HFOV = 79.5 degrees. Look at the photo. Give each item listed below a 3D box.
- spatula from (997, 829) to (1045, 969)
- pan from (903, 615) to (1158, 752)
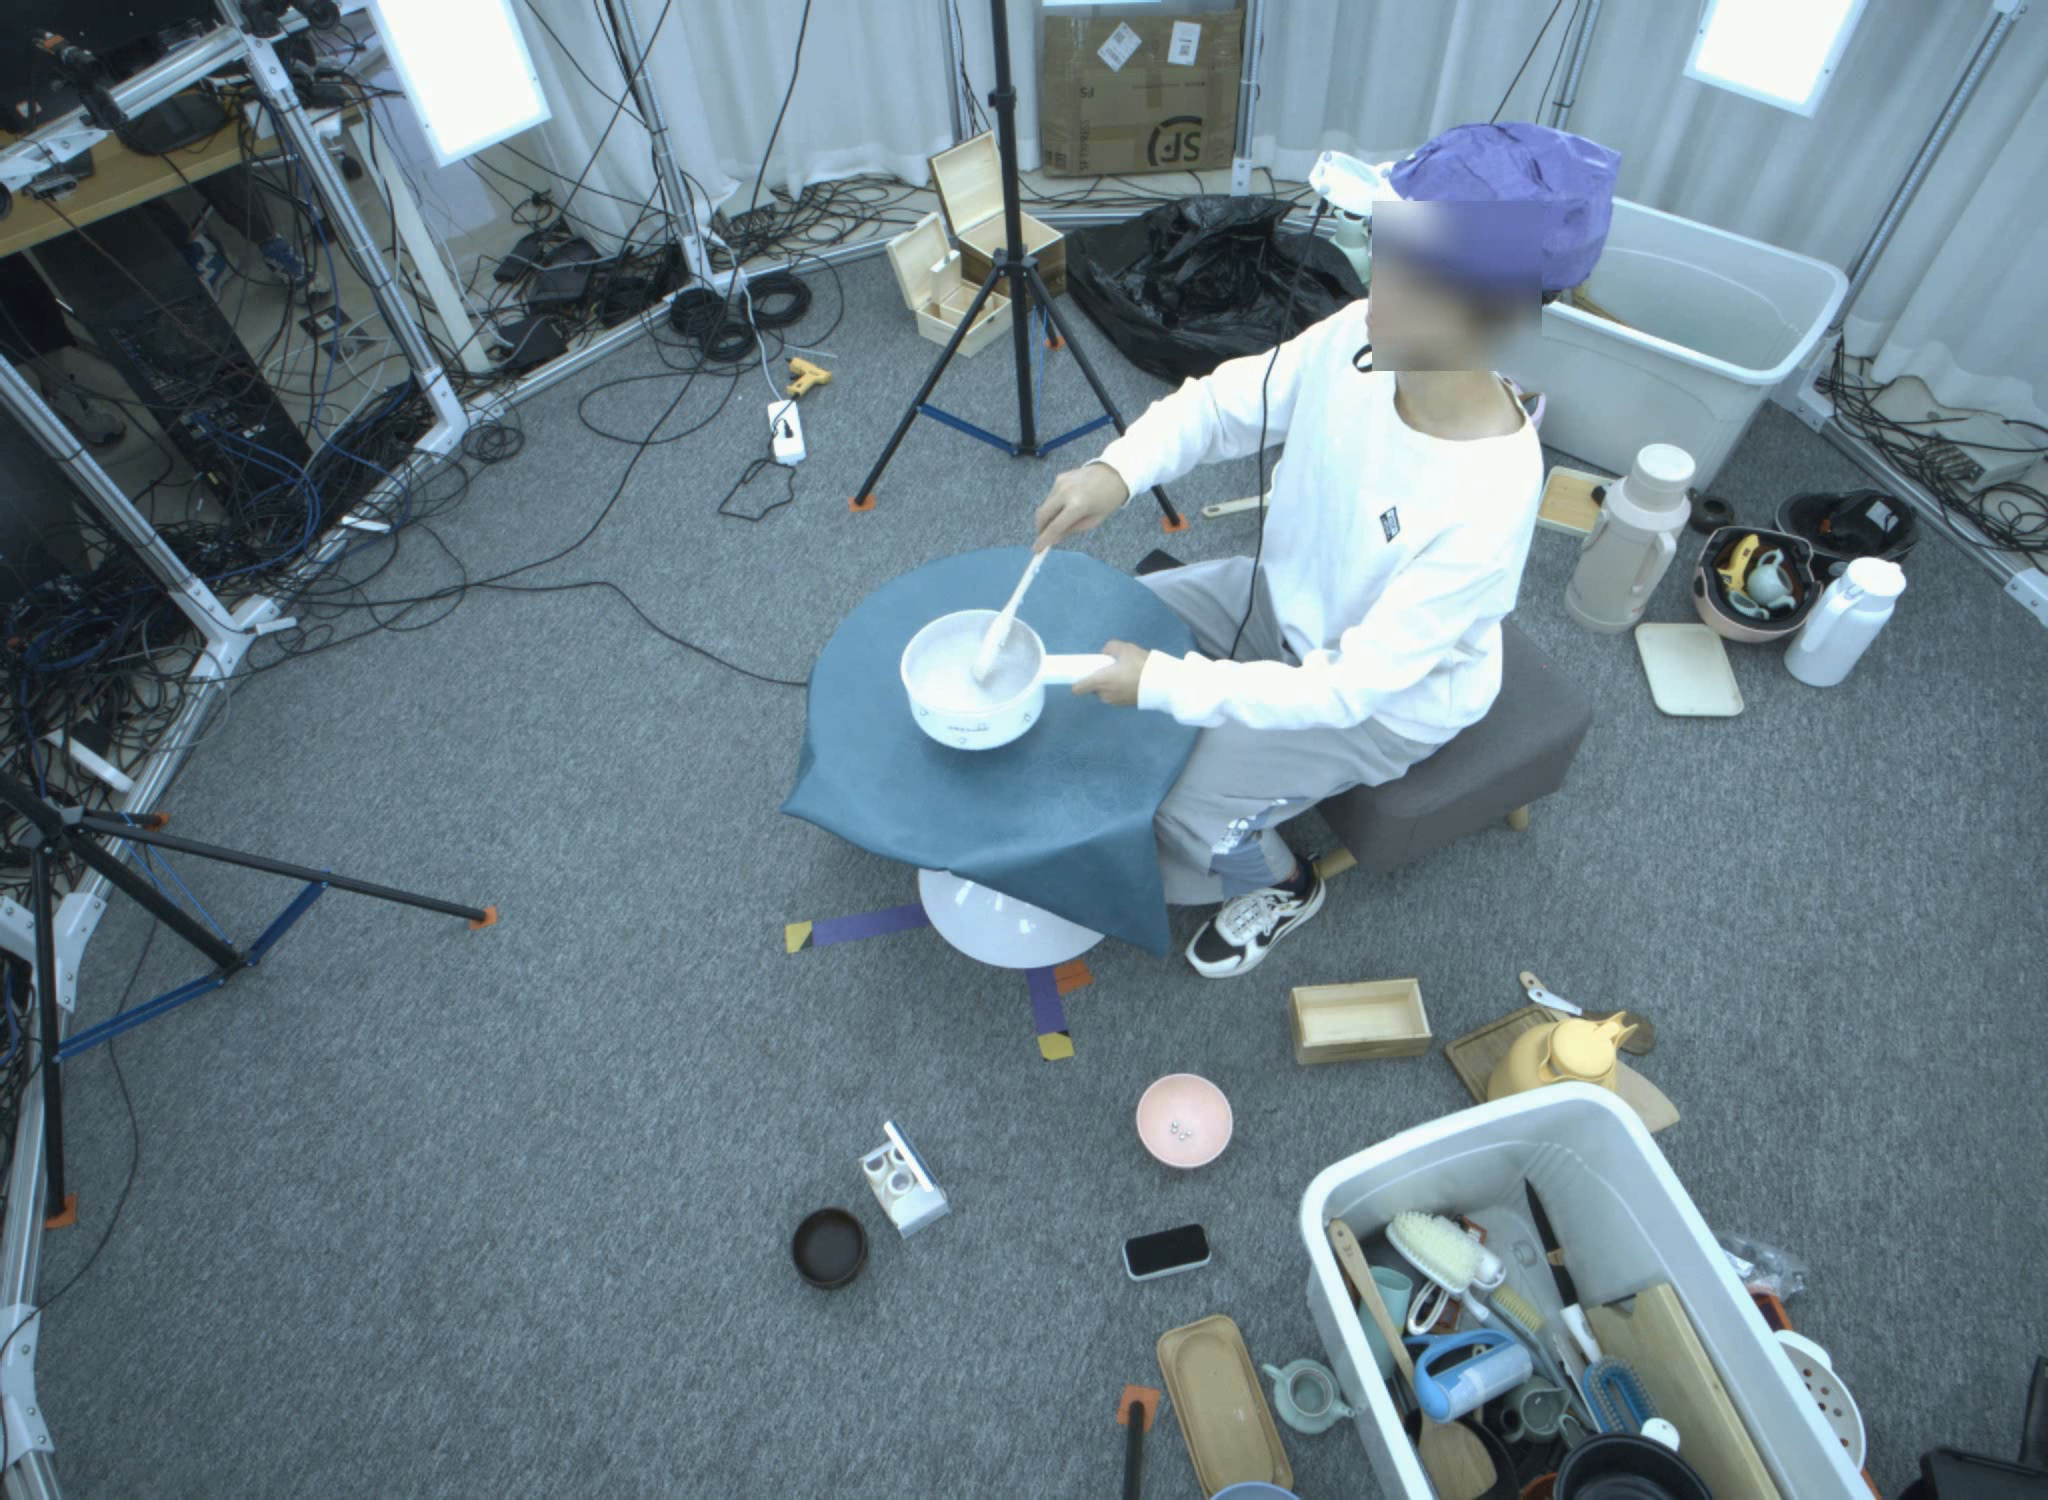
[{"bbox_3d":[0.005,0.272,2.269,0.072,0.011,0.289,-7,55,-5],"label":"spatula"},{"bbox_3d":[0.009,-0.087,1.738,0.355,0.103,0.199,2,47,0],"label":"pan"}]
